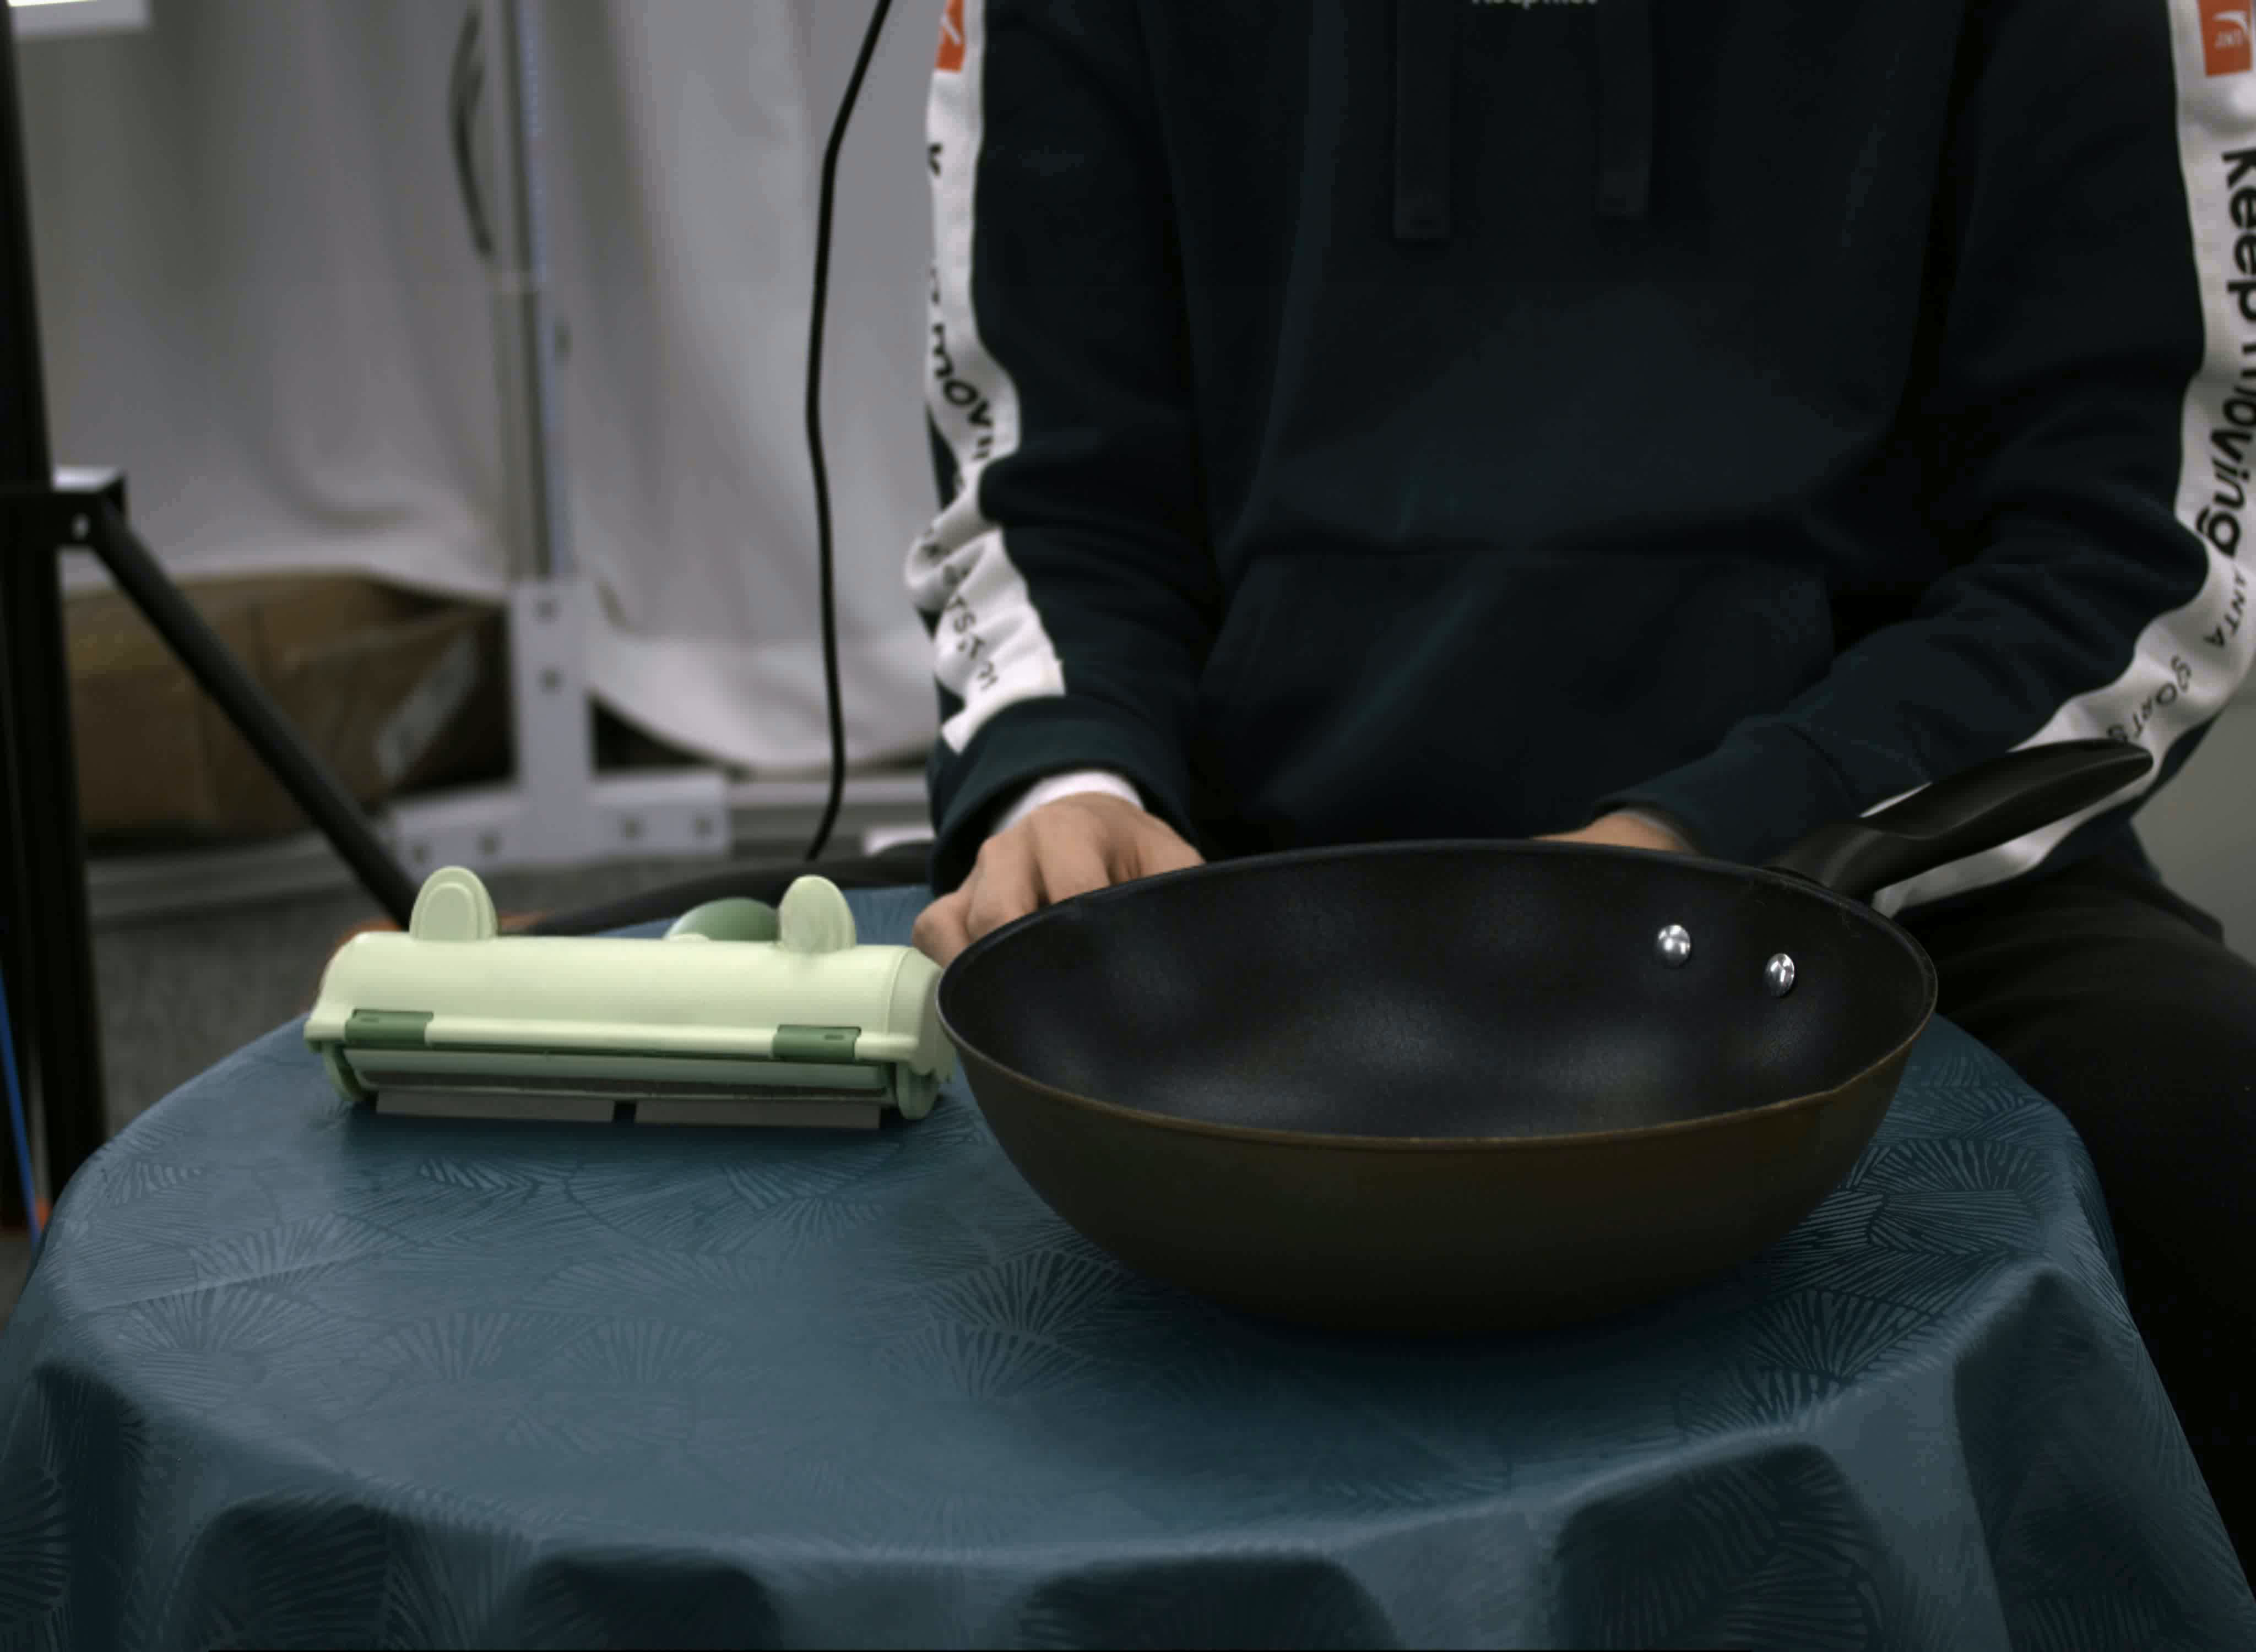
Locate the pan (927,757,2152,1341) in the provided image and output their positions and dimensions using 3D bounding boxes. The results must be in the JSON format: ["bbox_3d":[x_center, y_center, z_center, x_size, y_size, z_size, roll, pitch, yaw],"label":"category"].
[{"bbox_3d":[0.149,0.061,1.547,0.452,0.087,0.295,-16,21,-41],"label":"pan"}]

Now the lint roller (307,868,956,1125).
[{"bbox_3d":[-0.142,0.036,1.699,0.200,0.082,0.182,1,21,14],"label":"lint roller"}]
